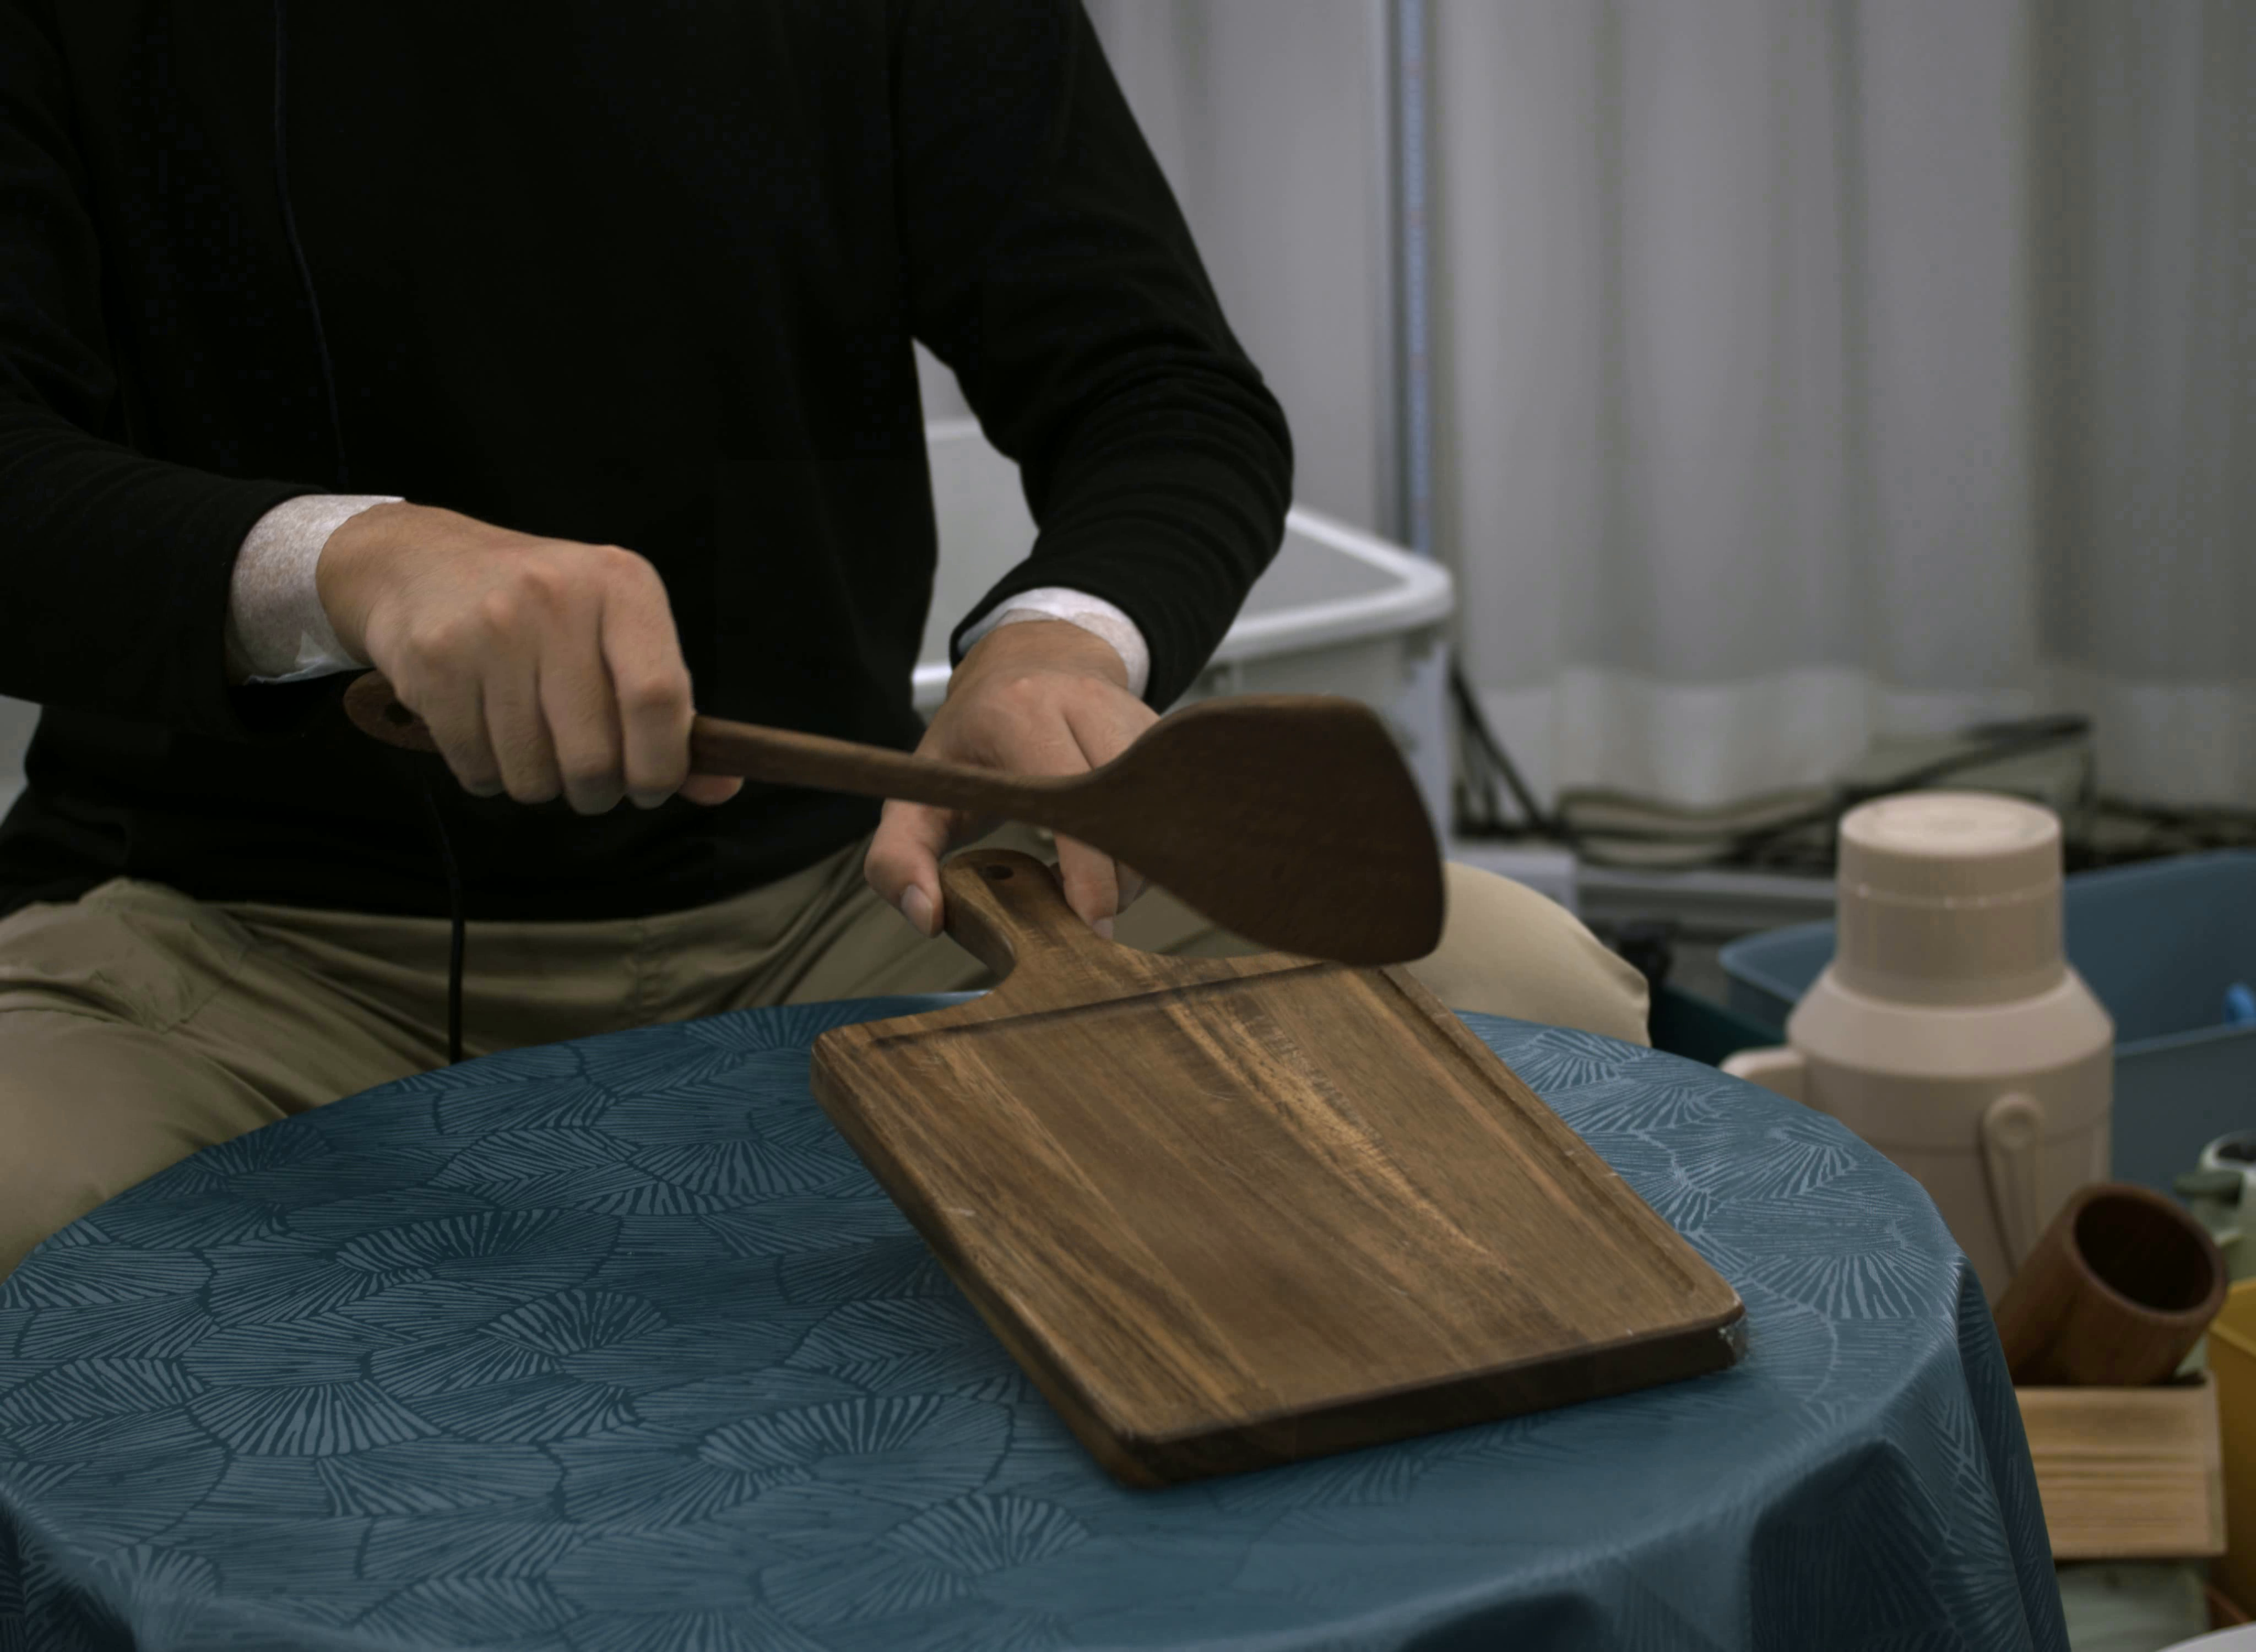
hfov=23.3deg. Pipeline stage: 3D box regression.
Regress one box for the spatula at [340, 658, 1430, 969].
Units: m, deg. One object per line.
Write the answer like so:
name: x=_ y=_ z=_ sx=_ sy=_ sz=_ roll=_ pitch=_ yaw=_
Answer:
spatula: x=-0.081 y=-0.017 z=1.615 sx=0.387 sy=0.095 sz=0.016 roll=9 pitch=40 yaw=32

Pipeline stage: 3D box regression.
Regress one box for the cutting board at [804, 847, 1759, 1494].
cutting board: x=0.020 y=0.087 z=1.642 sx=0.200 sy=0.023 sz=0.356 roll=-9 pitch=27 yaw=-22
